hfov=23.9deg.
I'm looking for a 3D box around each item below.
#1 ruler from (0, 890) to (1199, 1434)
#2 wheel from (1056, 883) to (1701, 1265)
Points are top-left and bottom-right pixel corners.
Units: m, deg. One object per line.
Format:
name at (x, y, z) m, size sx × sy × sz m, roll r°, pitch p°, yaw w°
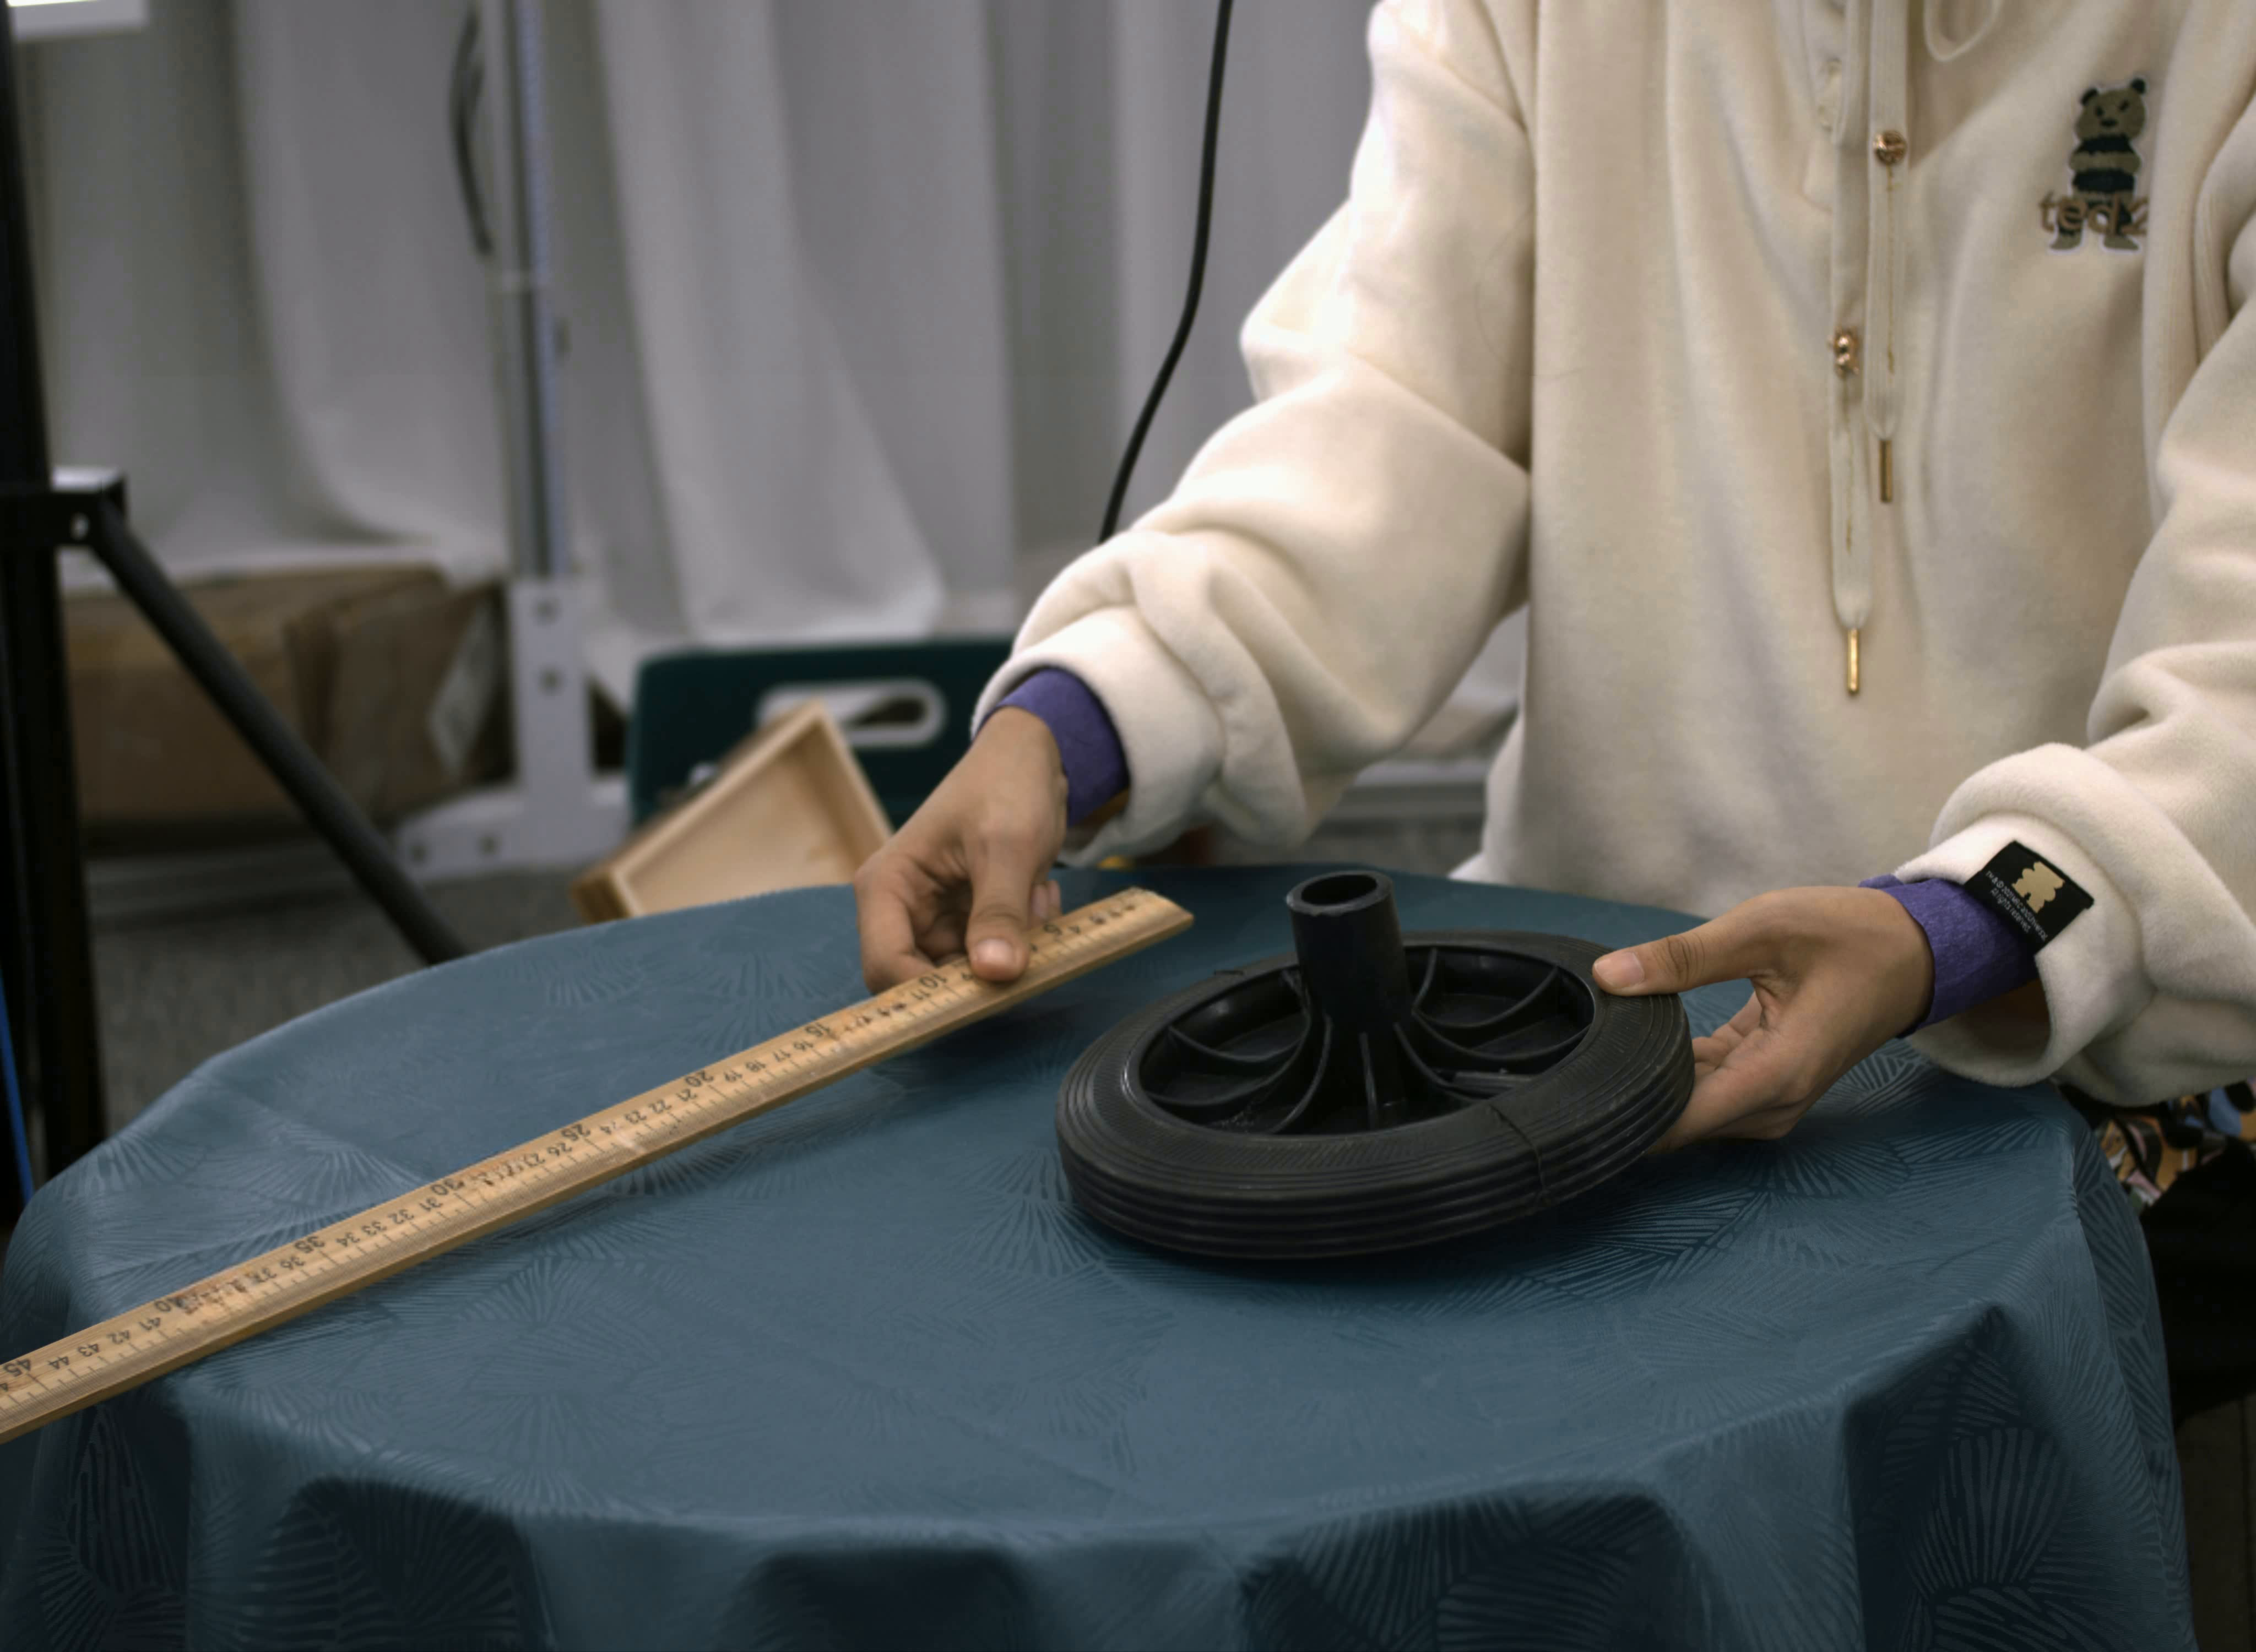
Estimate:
ruler at (-0.156, 0.095, 1.570) m, size 0.027 × 0.006 × 0.490 m, roll 30°, pitch 36°, yaw 35°
wheel at (0.069, 0.059, 1.544) m, size 0.191 × 0.079 × 0.187 m, roll -6°, pitch 20°, yaw 12°
